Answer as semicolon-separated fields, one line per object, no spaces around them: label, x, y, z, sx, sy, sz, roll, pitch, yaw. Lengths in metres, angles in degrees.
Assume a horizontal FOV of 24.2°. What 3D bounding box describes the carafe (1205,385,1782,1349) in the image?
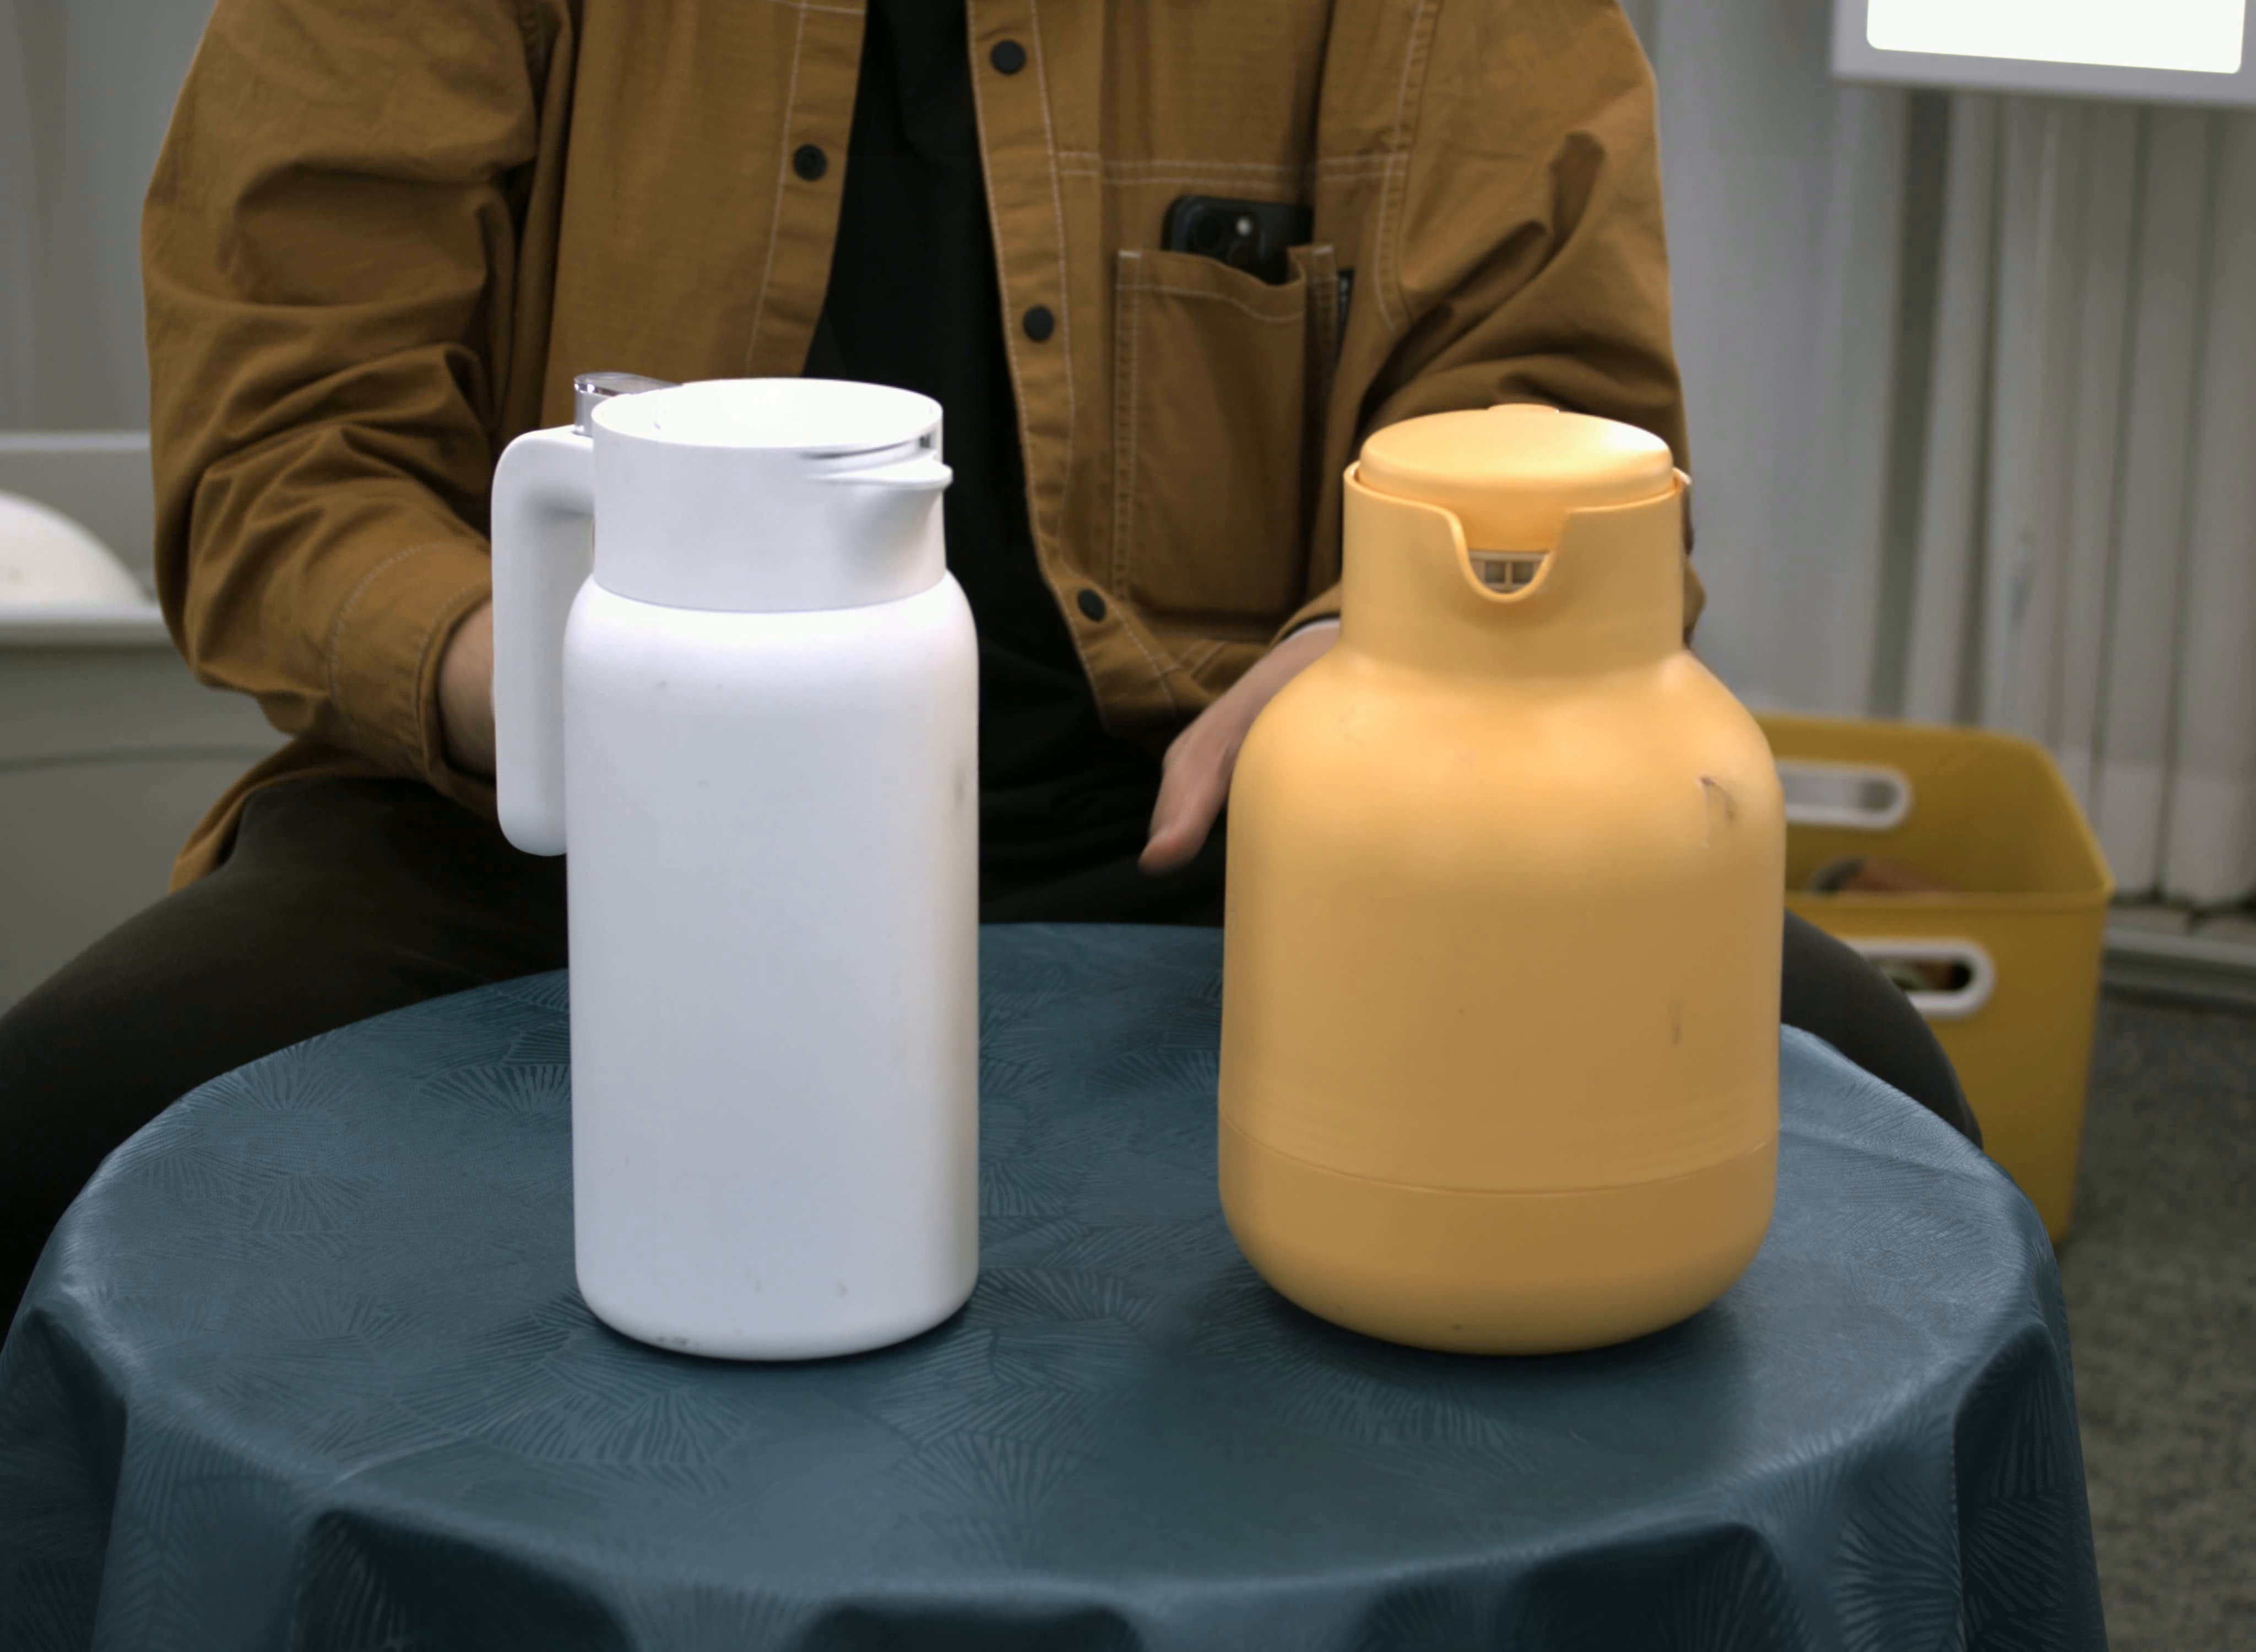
carafe;0.110;0.003;1.523;0.162;0.262;0.202;5;18;7

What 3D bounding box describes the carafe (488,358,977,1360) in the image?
carafe;-0.115;0.006;1.499;0.170;0.271;0.124;14;23;39
